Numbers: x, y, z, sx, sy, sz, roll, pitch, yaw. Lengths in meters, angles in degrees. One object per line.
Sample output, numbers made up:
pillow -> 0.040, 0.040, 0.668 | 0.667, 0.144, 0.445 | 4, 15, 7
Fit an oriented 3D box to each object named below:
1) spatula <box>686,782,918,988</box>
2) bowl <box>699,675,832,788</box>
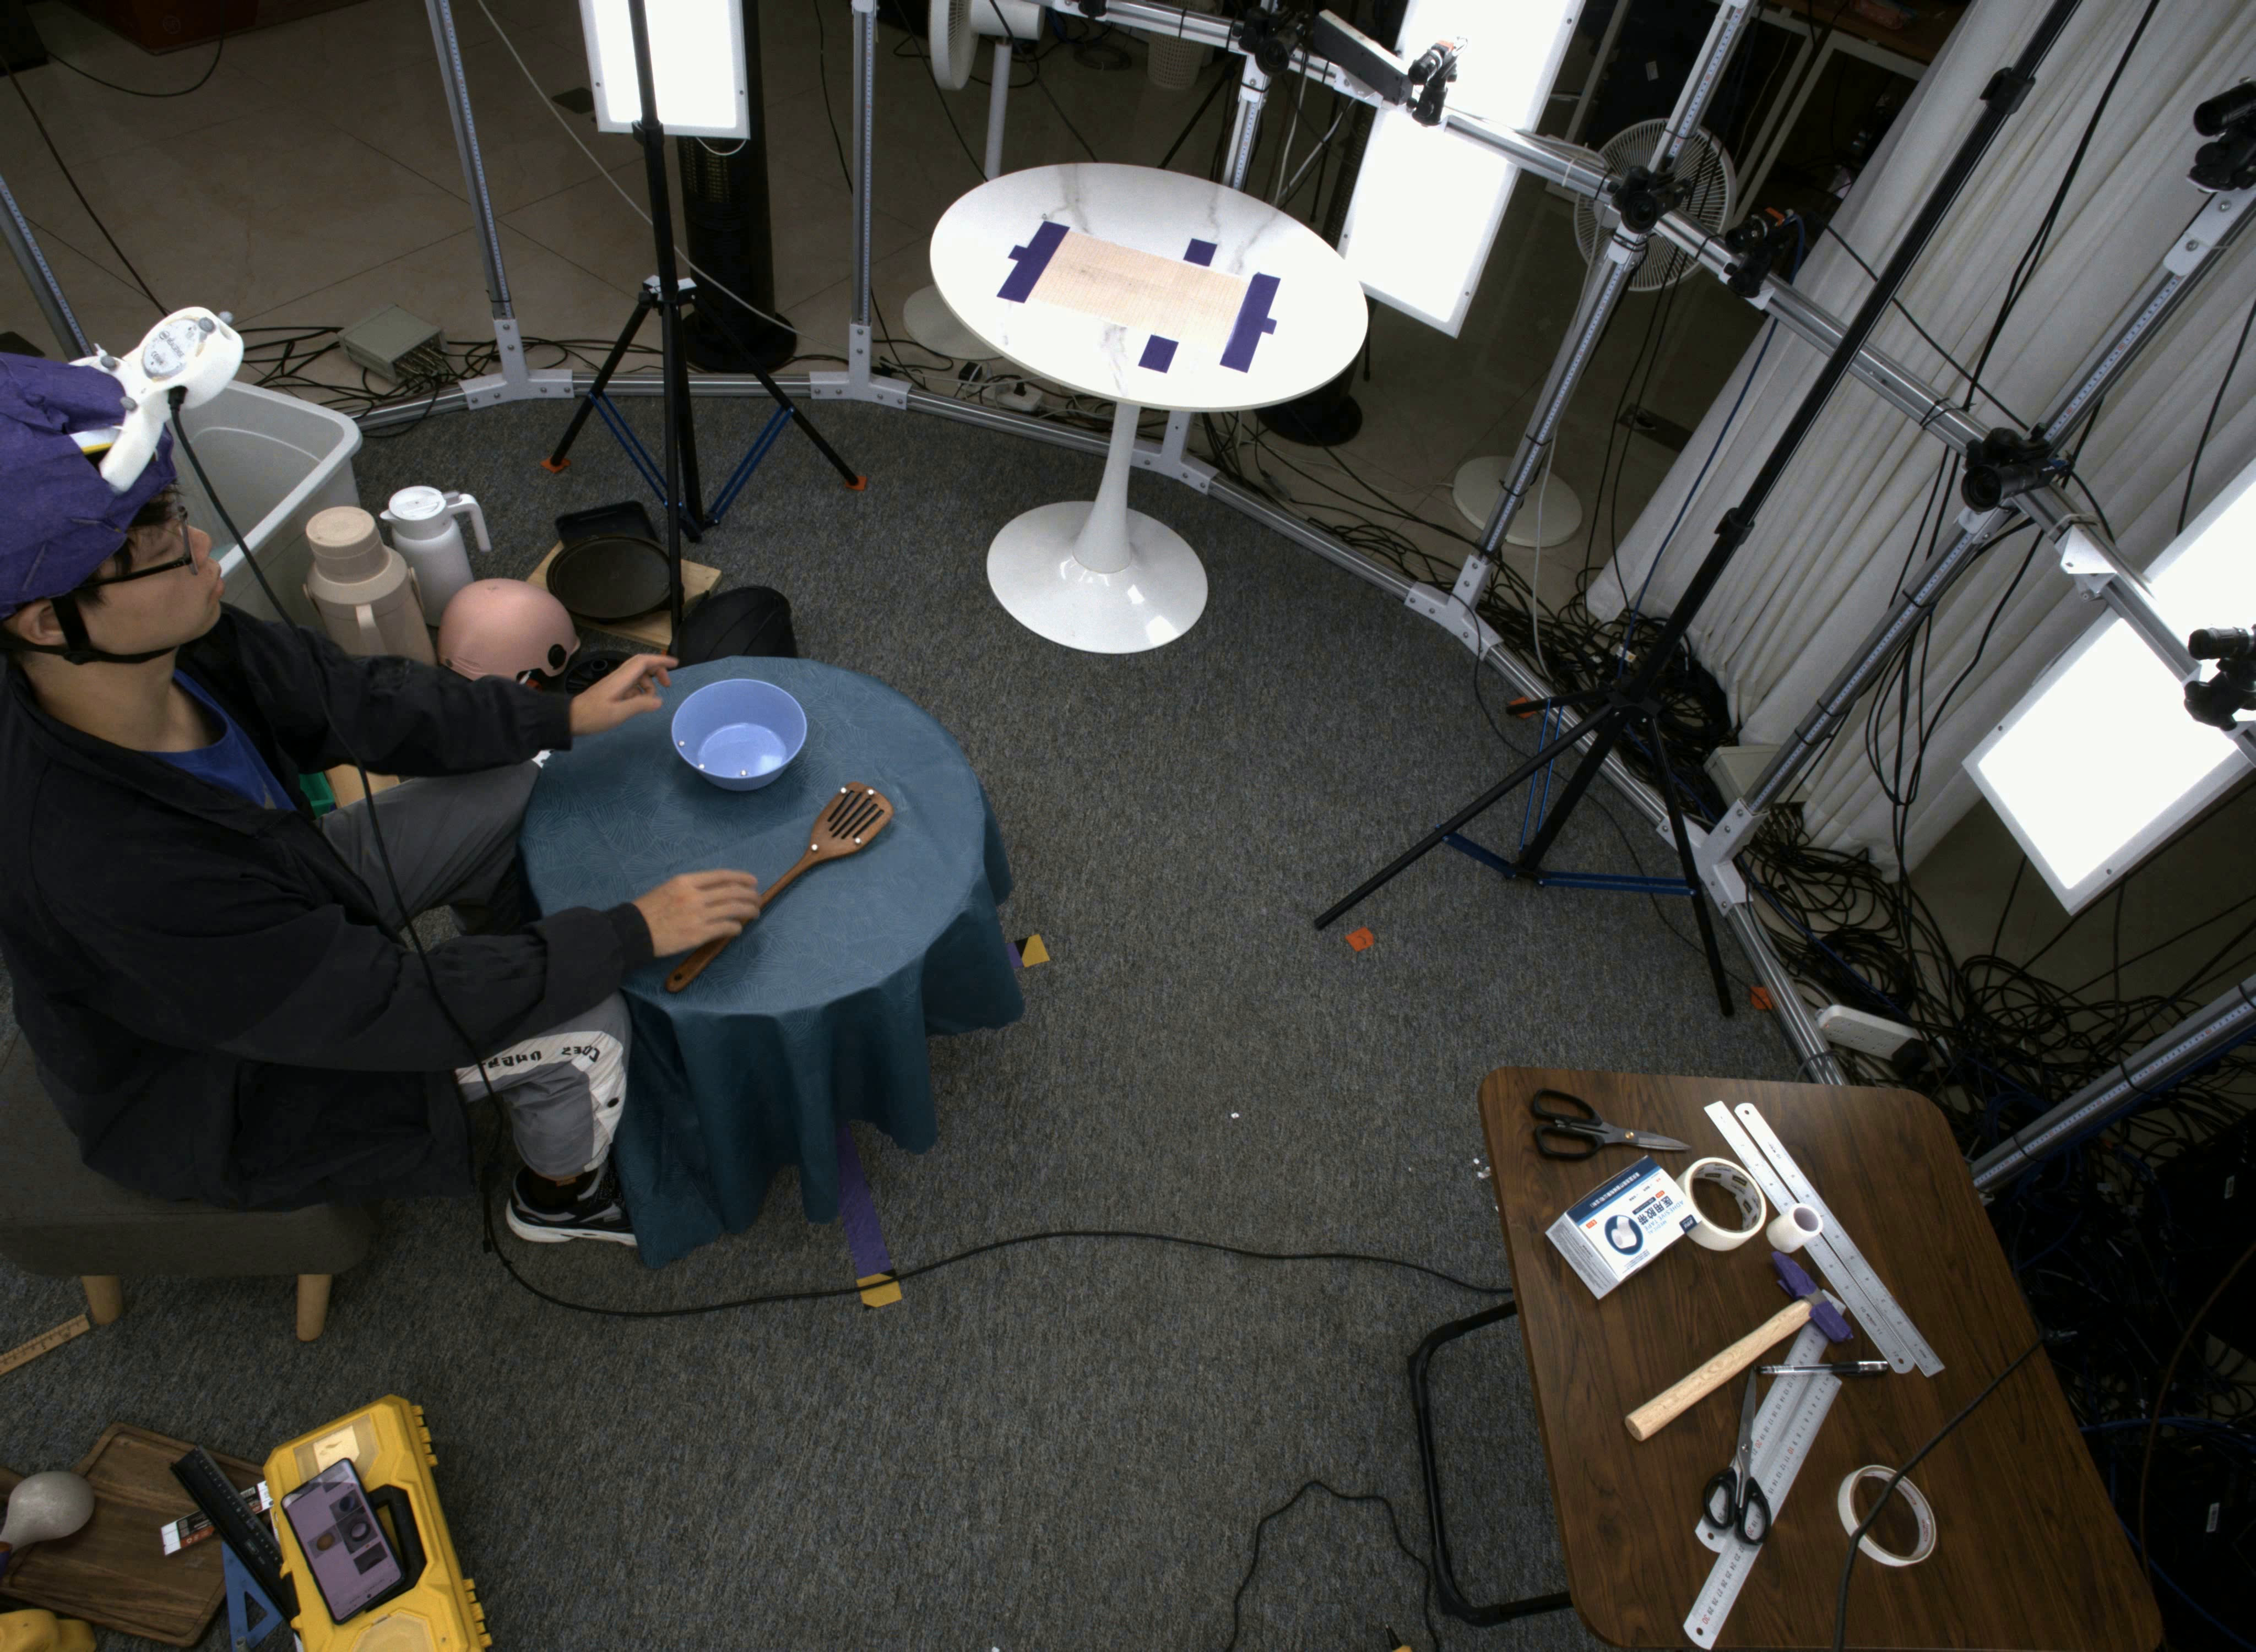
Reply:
spatula -> -0.420, 0.075, 1.667 | 0.084, 0.024, 0.386 | 34, 55, 14
bowl -> -0.490, -0.119, 1.760 | 0.175, 0.072, 0.173 | 7, 53, -7
